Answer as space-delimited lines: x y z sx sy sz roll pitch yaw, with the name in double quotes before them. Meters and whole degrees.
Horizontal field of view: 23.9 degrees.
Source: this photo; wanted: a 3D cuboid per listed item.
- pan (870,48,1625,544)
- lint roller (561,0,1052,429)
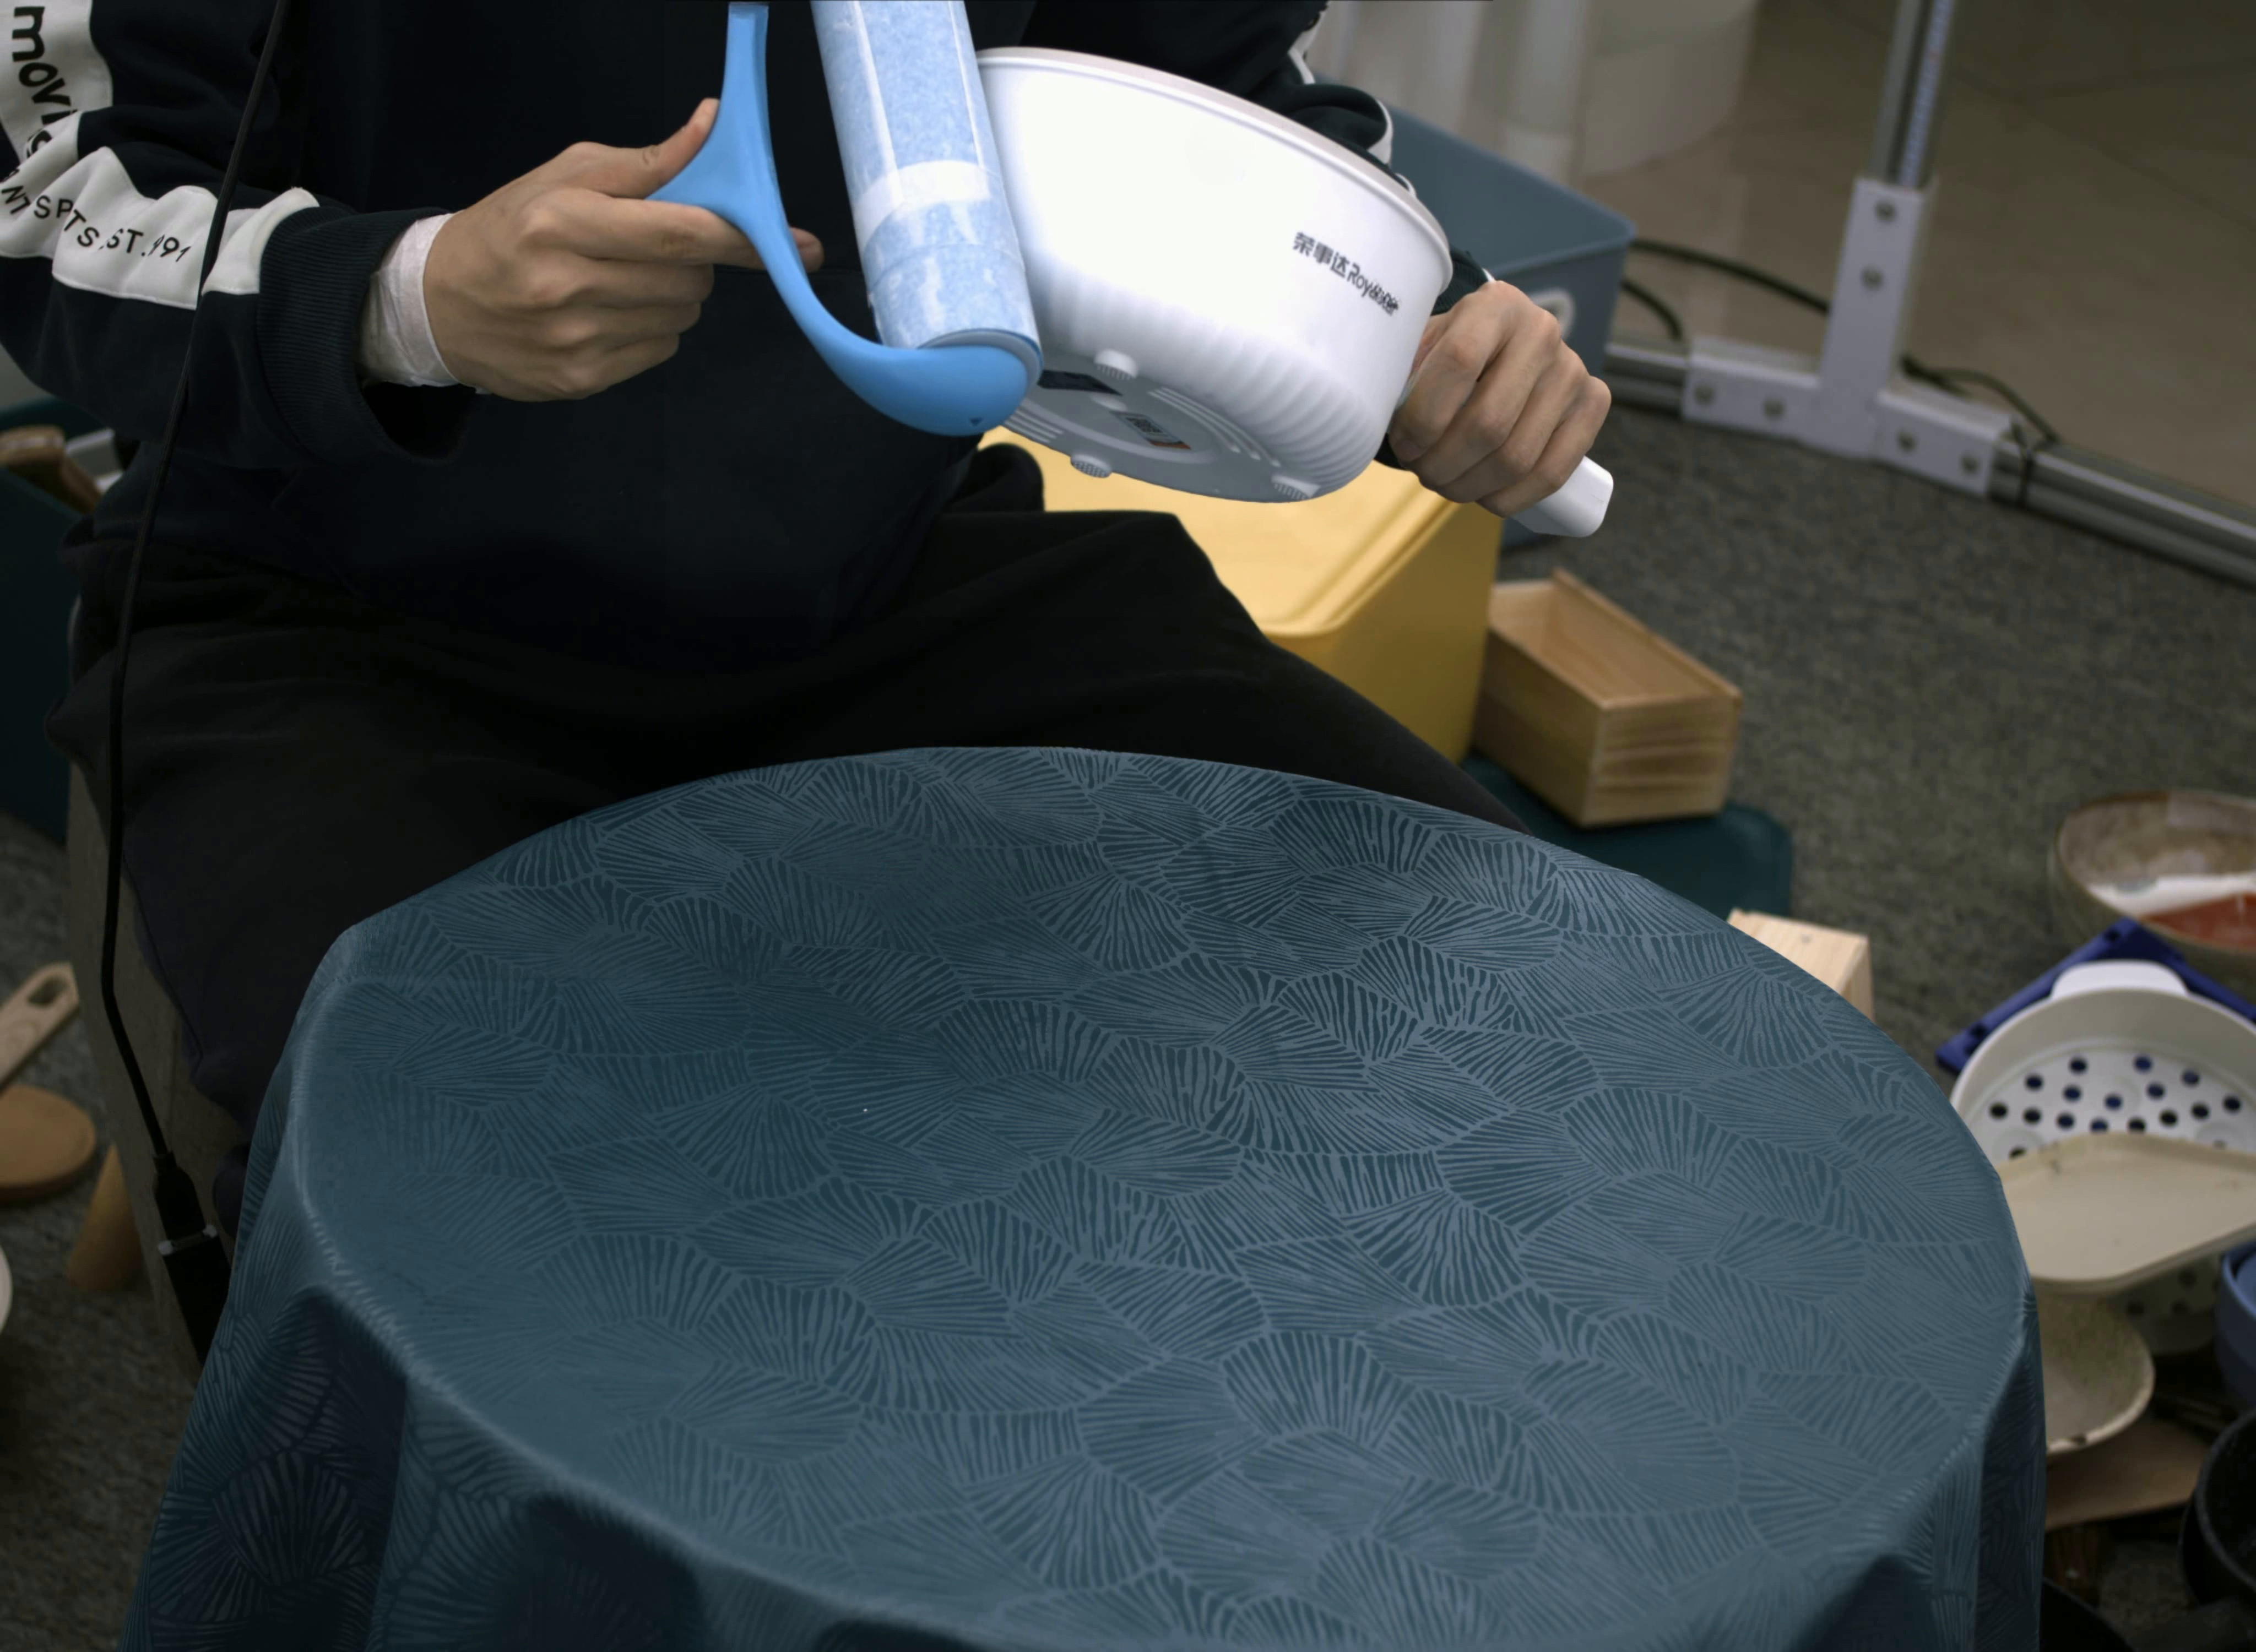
"pan" 0.055 -0.160 1.964 0.202 0.102 0.351 8 -17 45
"lint roller" -0.125 -0.210 1.838 0.180 0.067 0.231 -23 59 10
